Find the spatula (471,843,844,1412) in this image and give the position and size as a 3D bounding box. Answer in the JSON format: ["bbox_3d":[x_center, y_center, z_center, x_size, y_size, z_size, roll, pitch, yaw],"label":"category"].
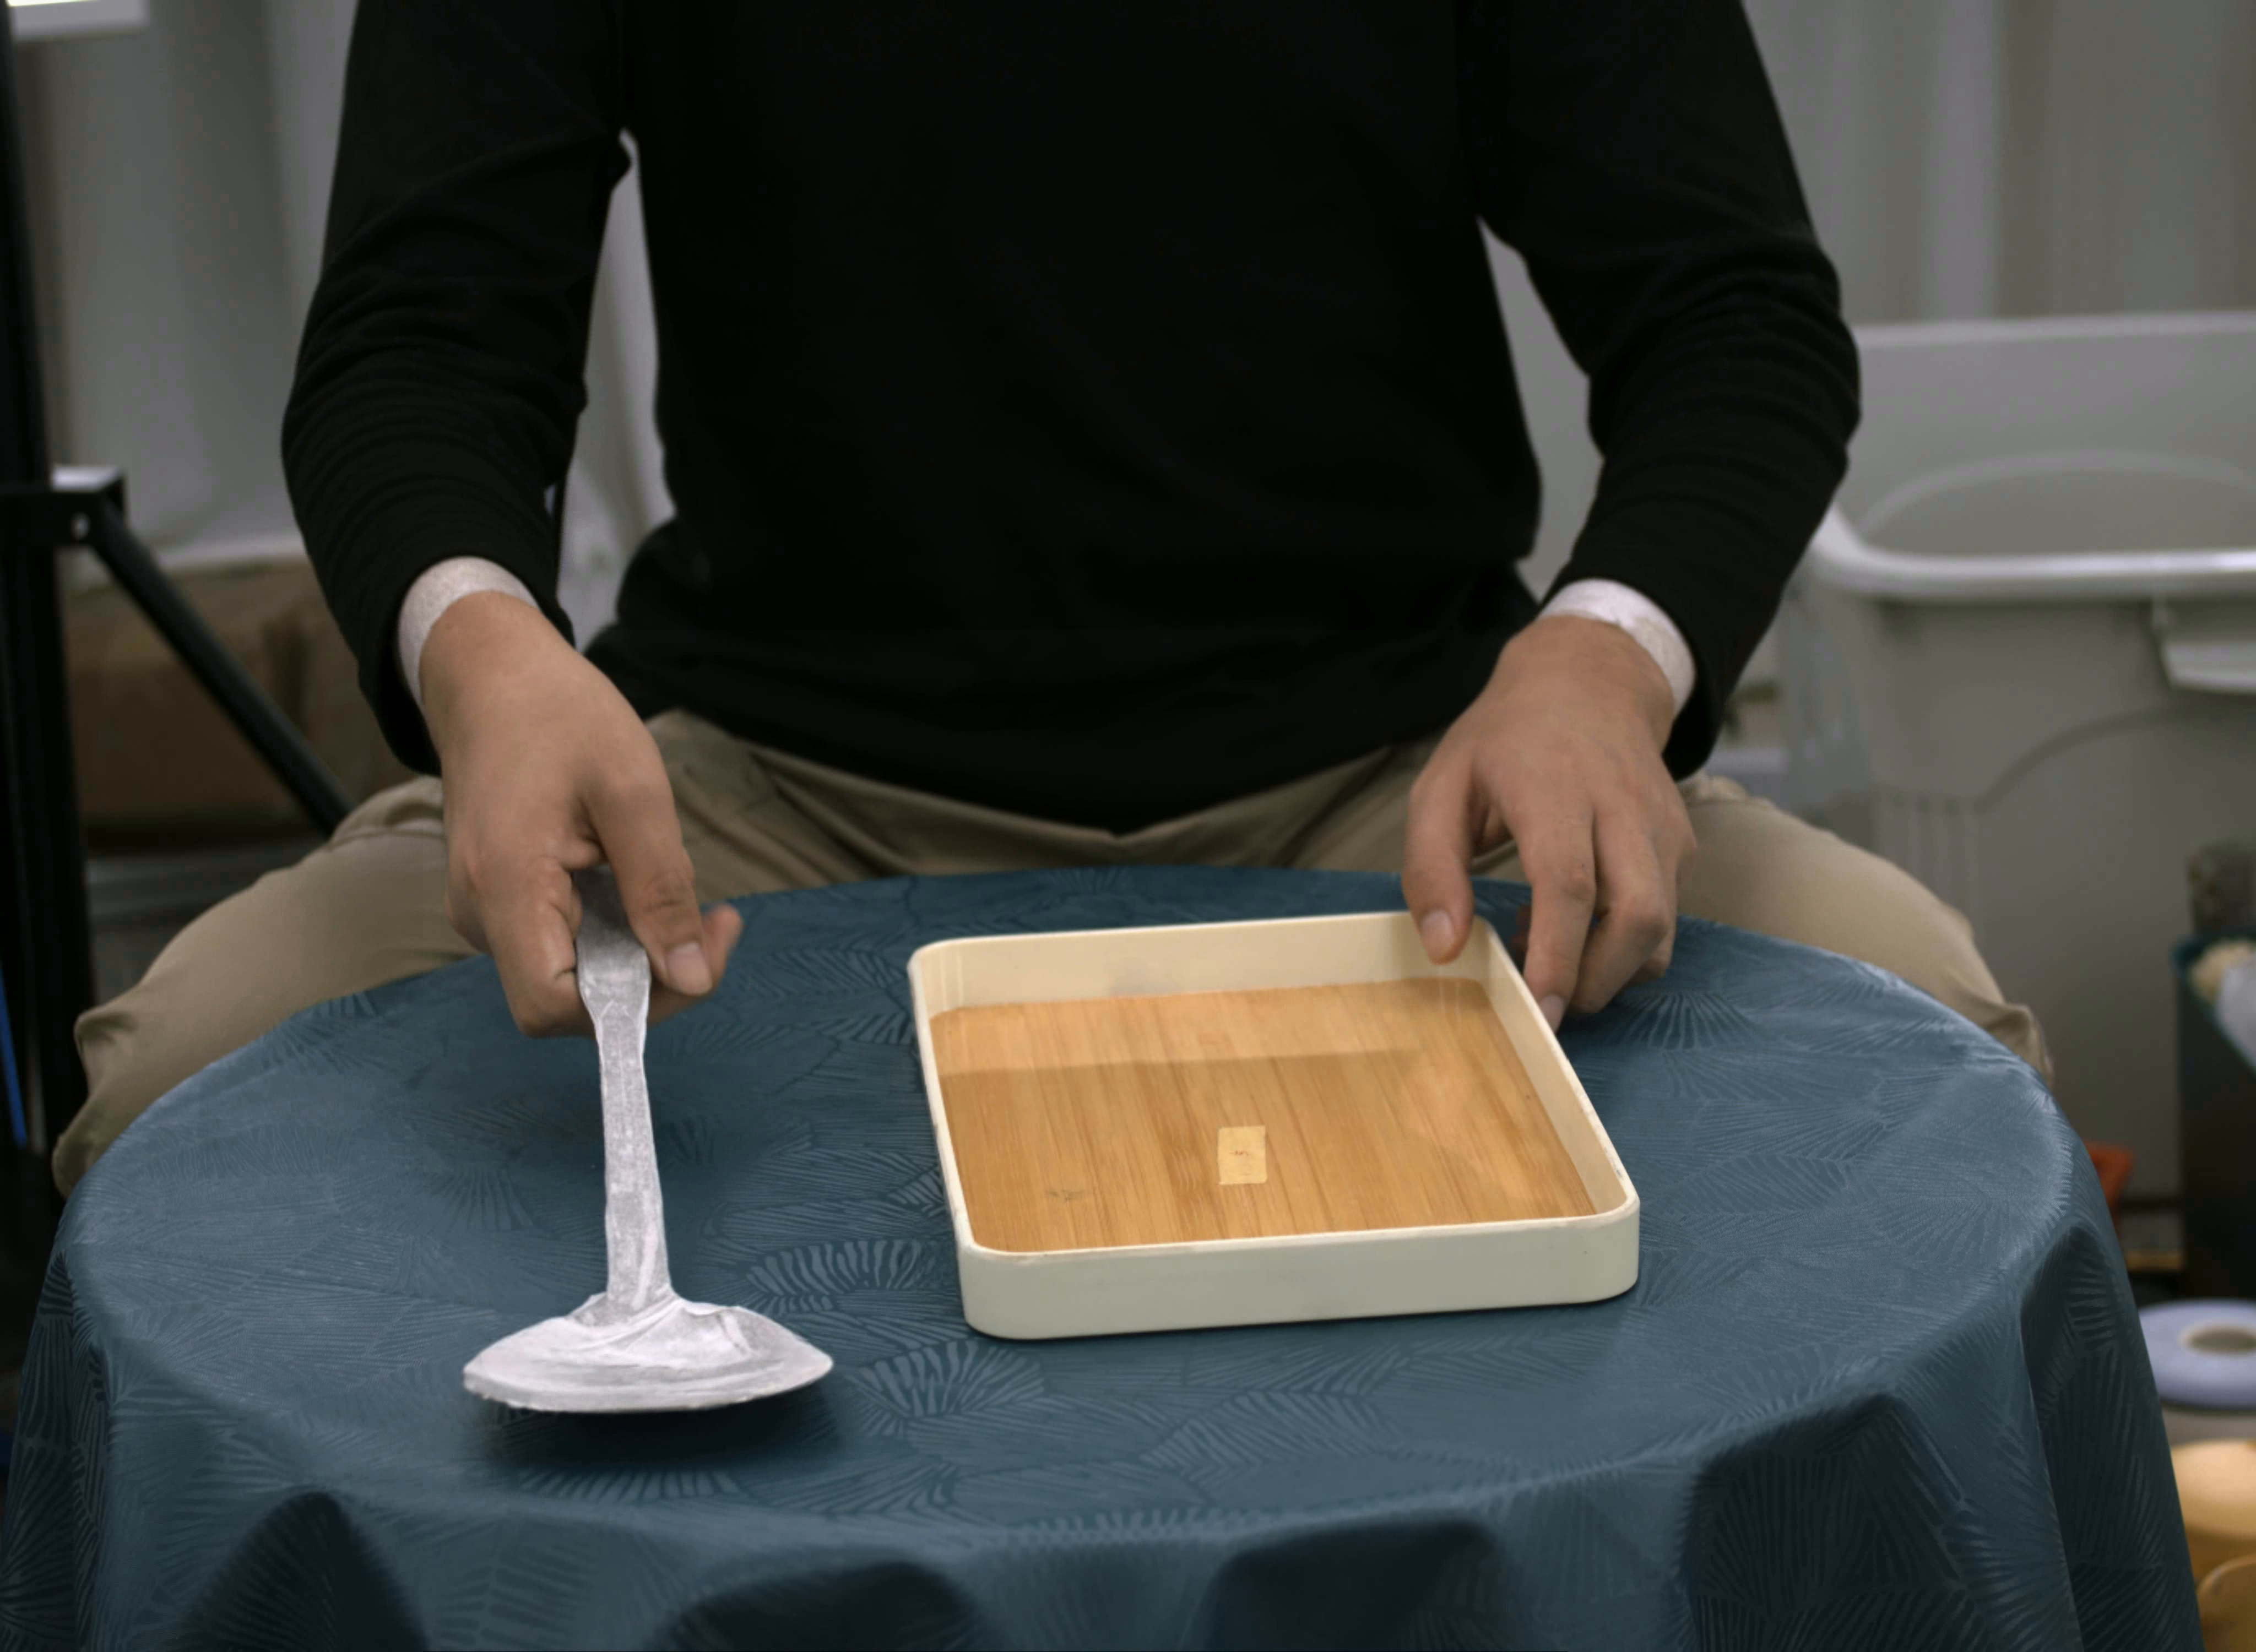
[{"bbox_3d":[-0.141,0.077,1.531,0.098,0.044,0.369,-5,30,-5],"label":"spatula"}]

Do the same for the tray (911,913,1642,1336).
[{"bbox_3d":[0.037,0.085,1.585,0.190,0.027,0.302,-4,16,-3],"label":"tray"}]
